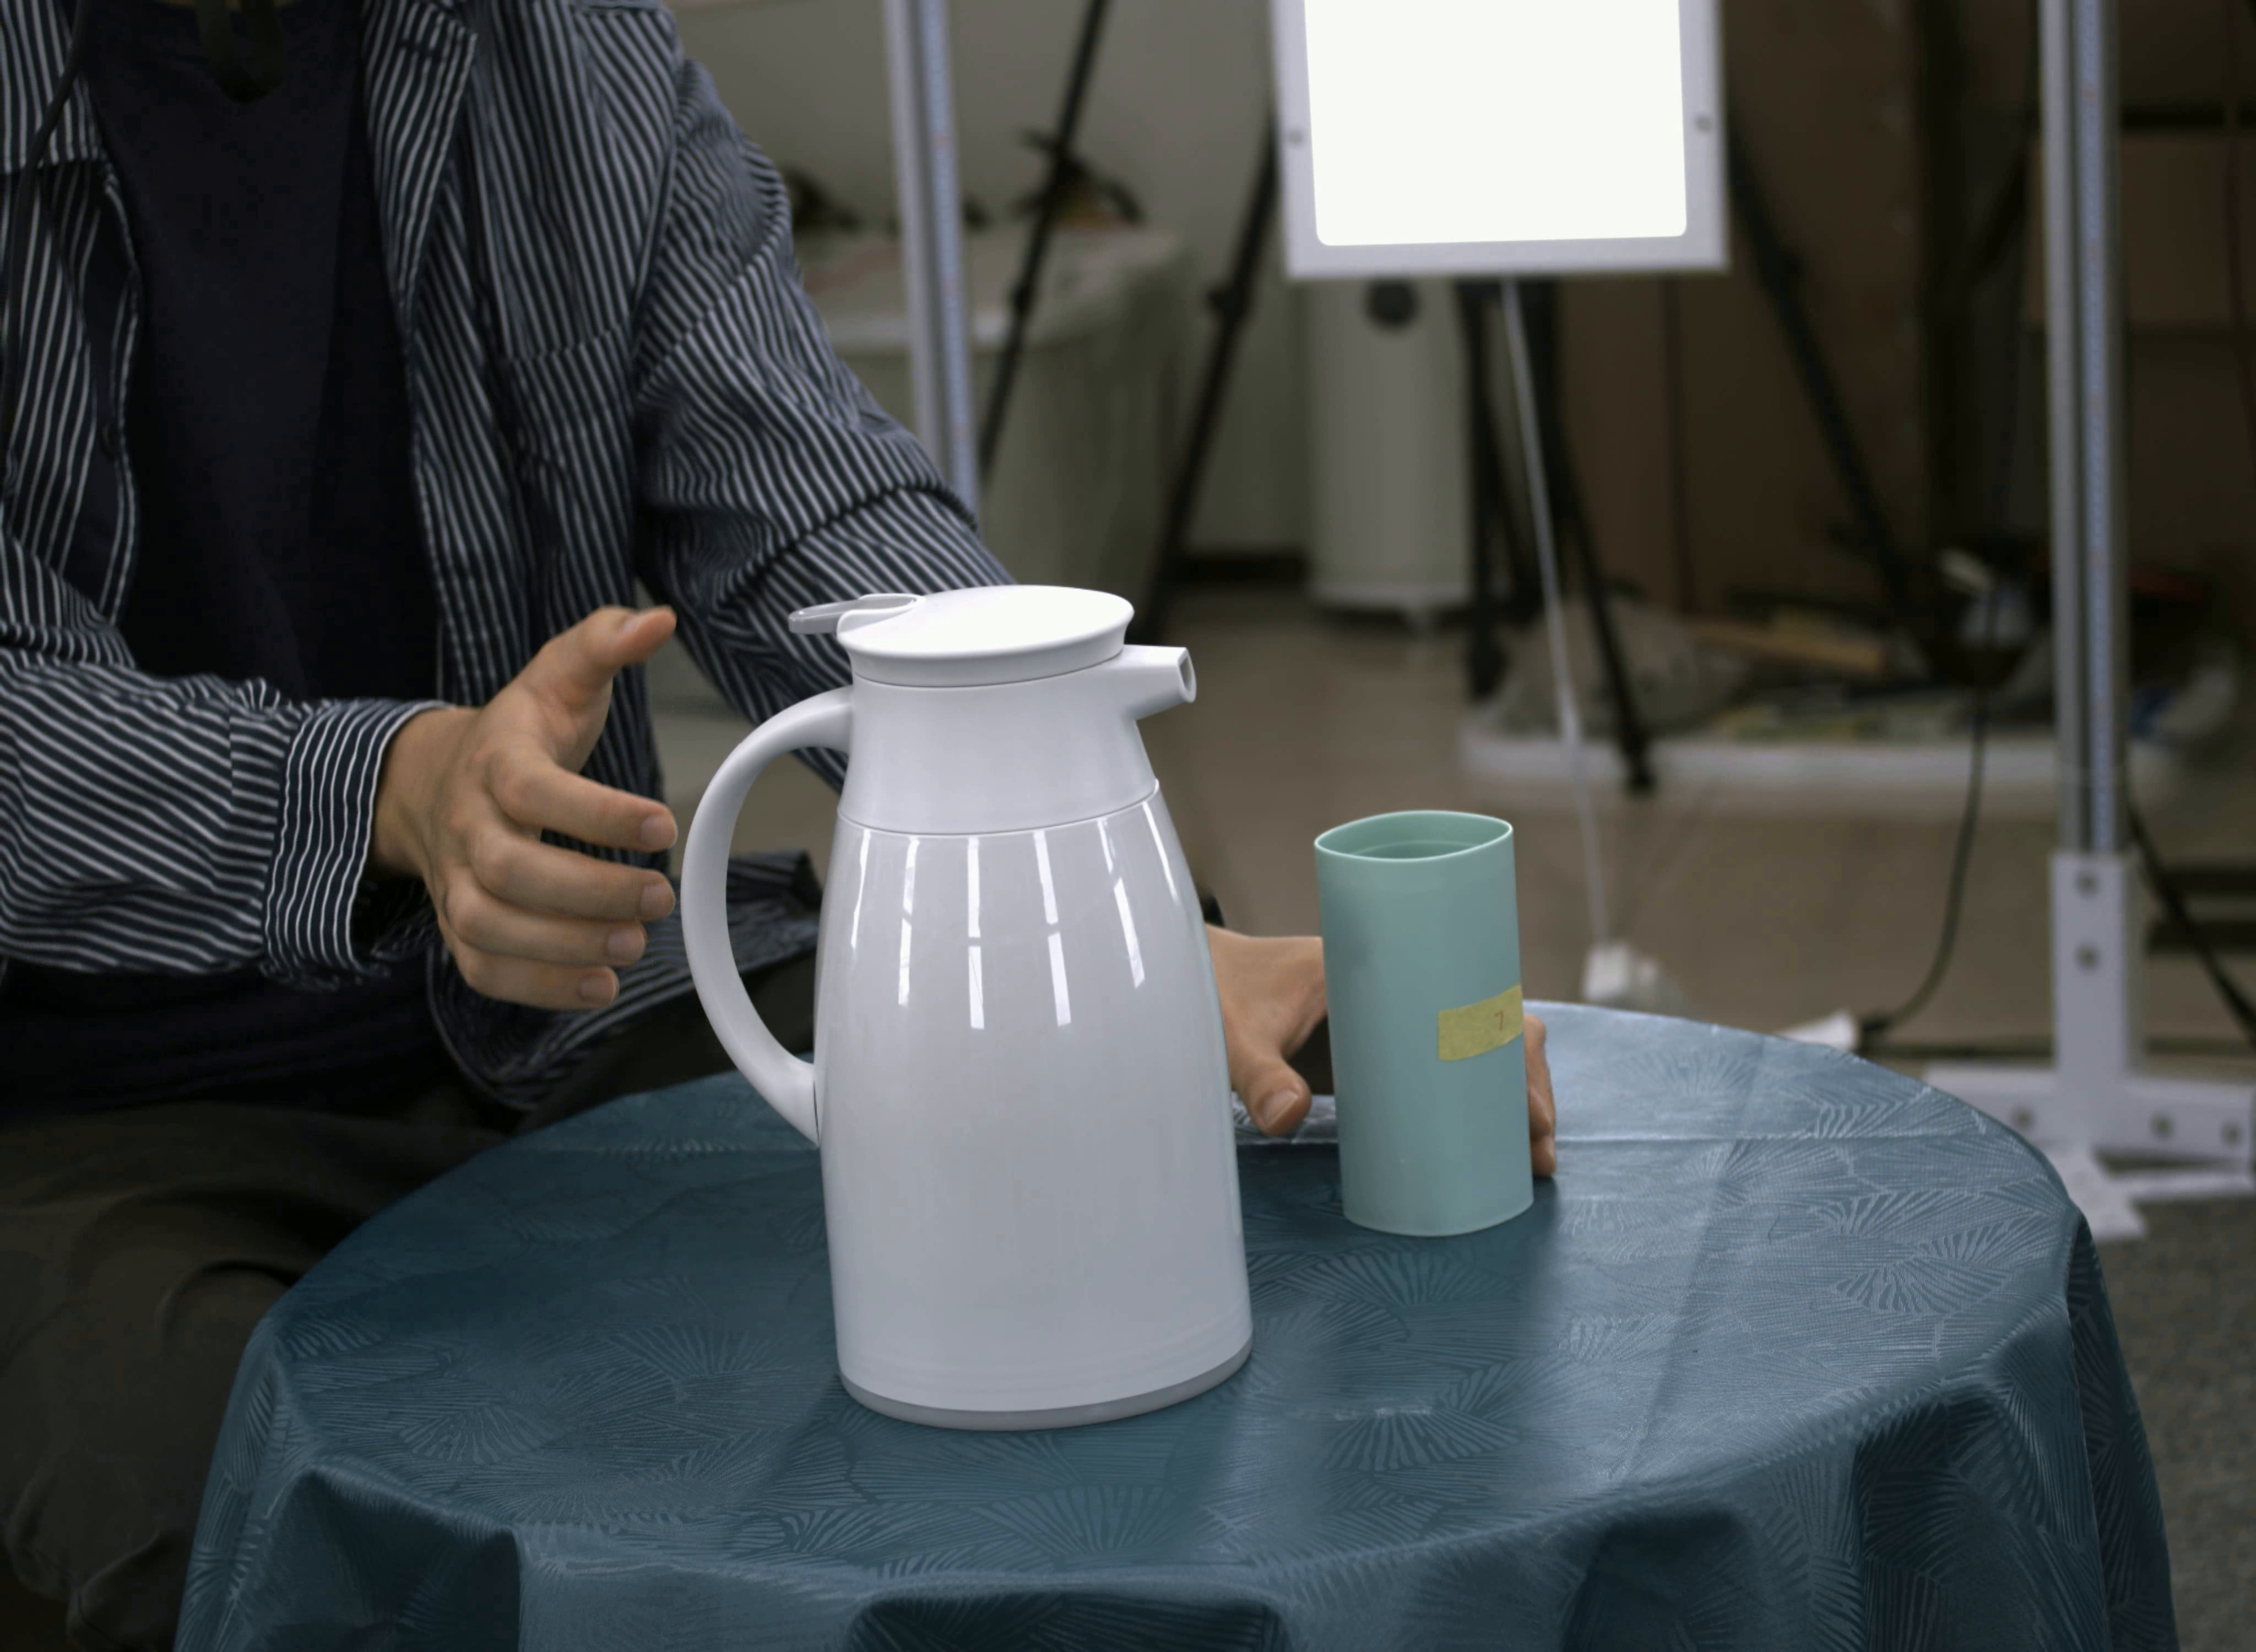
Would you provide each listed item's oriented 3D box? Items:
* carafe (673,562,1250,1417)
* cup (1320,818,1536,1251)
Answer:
[{"bbox_3d":[-0.055,0.045,1.705,0.168,0.249,0.131,-3,14,10],"label":"carafe"},{"bbox_3d":[0.100,0.068,1.832,0.066,0.133,0.066,-4,14,0],"label":"cup"}]
